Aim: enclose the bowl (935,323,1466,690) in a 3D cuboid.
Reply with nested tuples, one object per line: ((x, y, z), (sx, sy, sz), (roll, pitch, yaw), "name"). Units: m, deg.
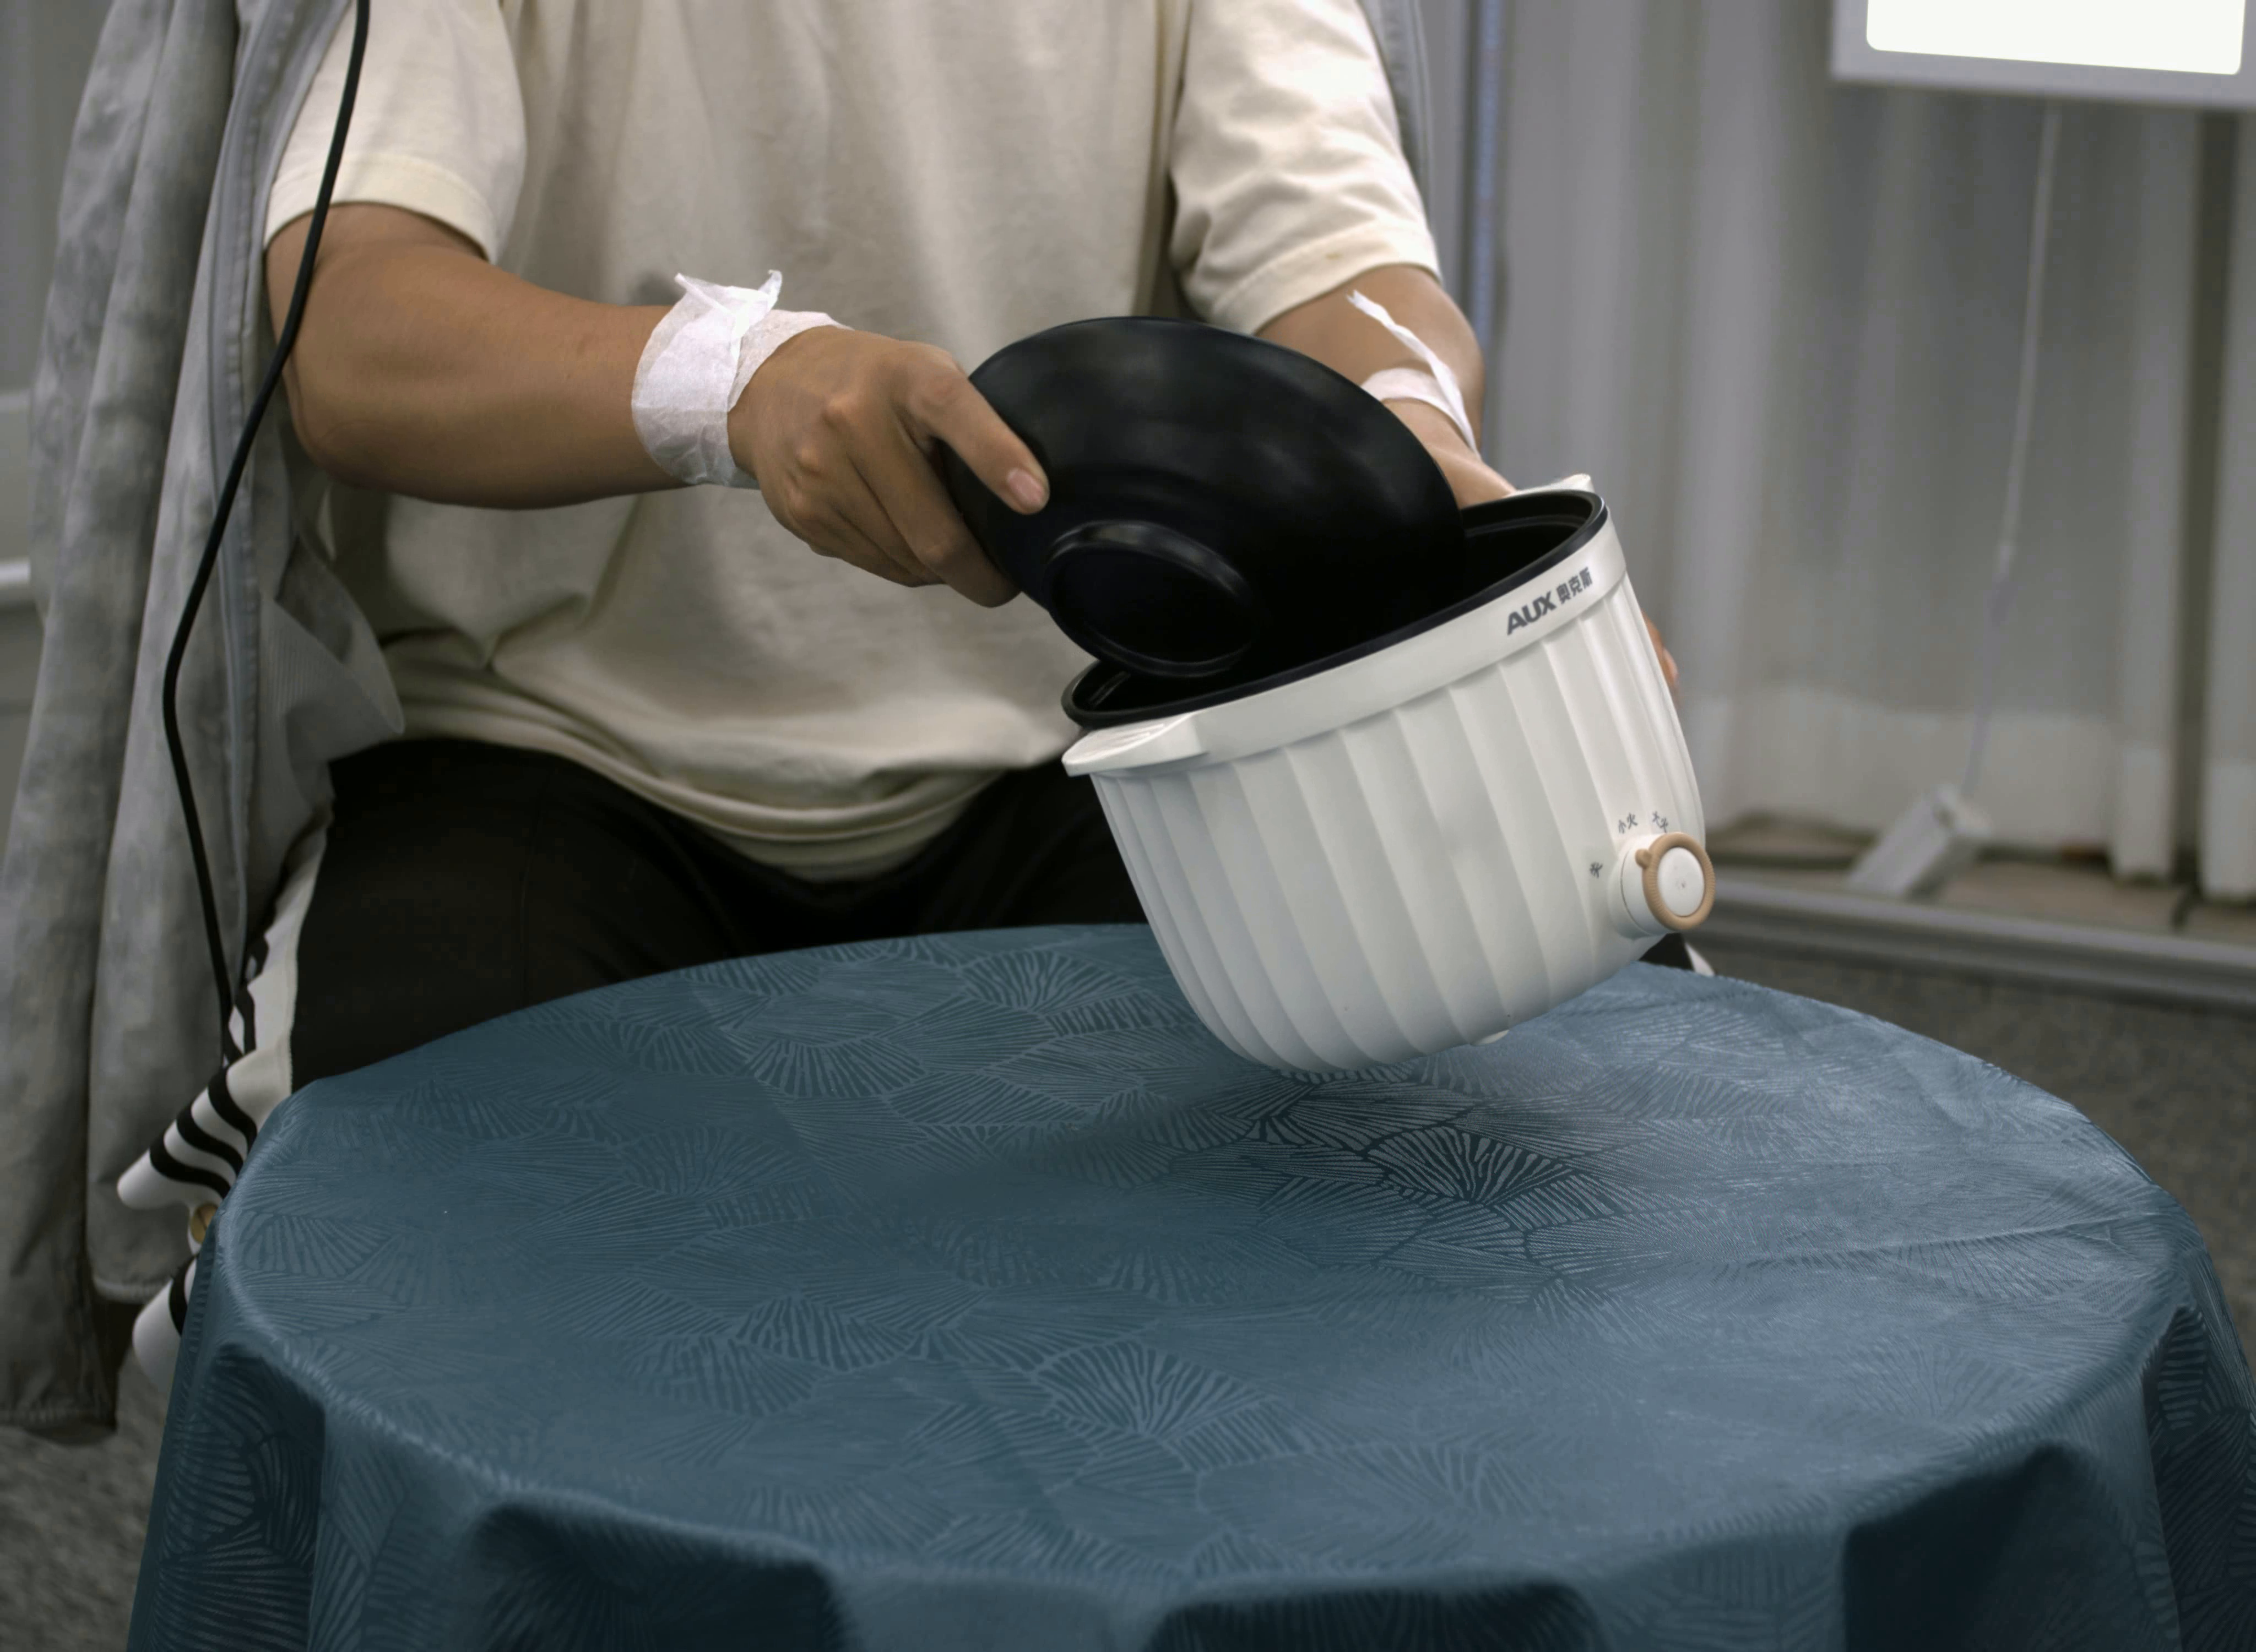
((0.017, -0.088, 1.627), (0.169, 0.138, 0.066), (18, 56, 3), "bowl")

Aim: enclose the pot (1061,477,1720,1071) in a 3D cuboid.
((0.091, -0.011, 1.651), (0.189, 0.143, 0.241), (-13, 15, 48), "pot")
